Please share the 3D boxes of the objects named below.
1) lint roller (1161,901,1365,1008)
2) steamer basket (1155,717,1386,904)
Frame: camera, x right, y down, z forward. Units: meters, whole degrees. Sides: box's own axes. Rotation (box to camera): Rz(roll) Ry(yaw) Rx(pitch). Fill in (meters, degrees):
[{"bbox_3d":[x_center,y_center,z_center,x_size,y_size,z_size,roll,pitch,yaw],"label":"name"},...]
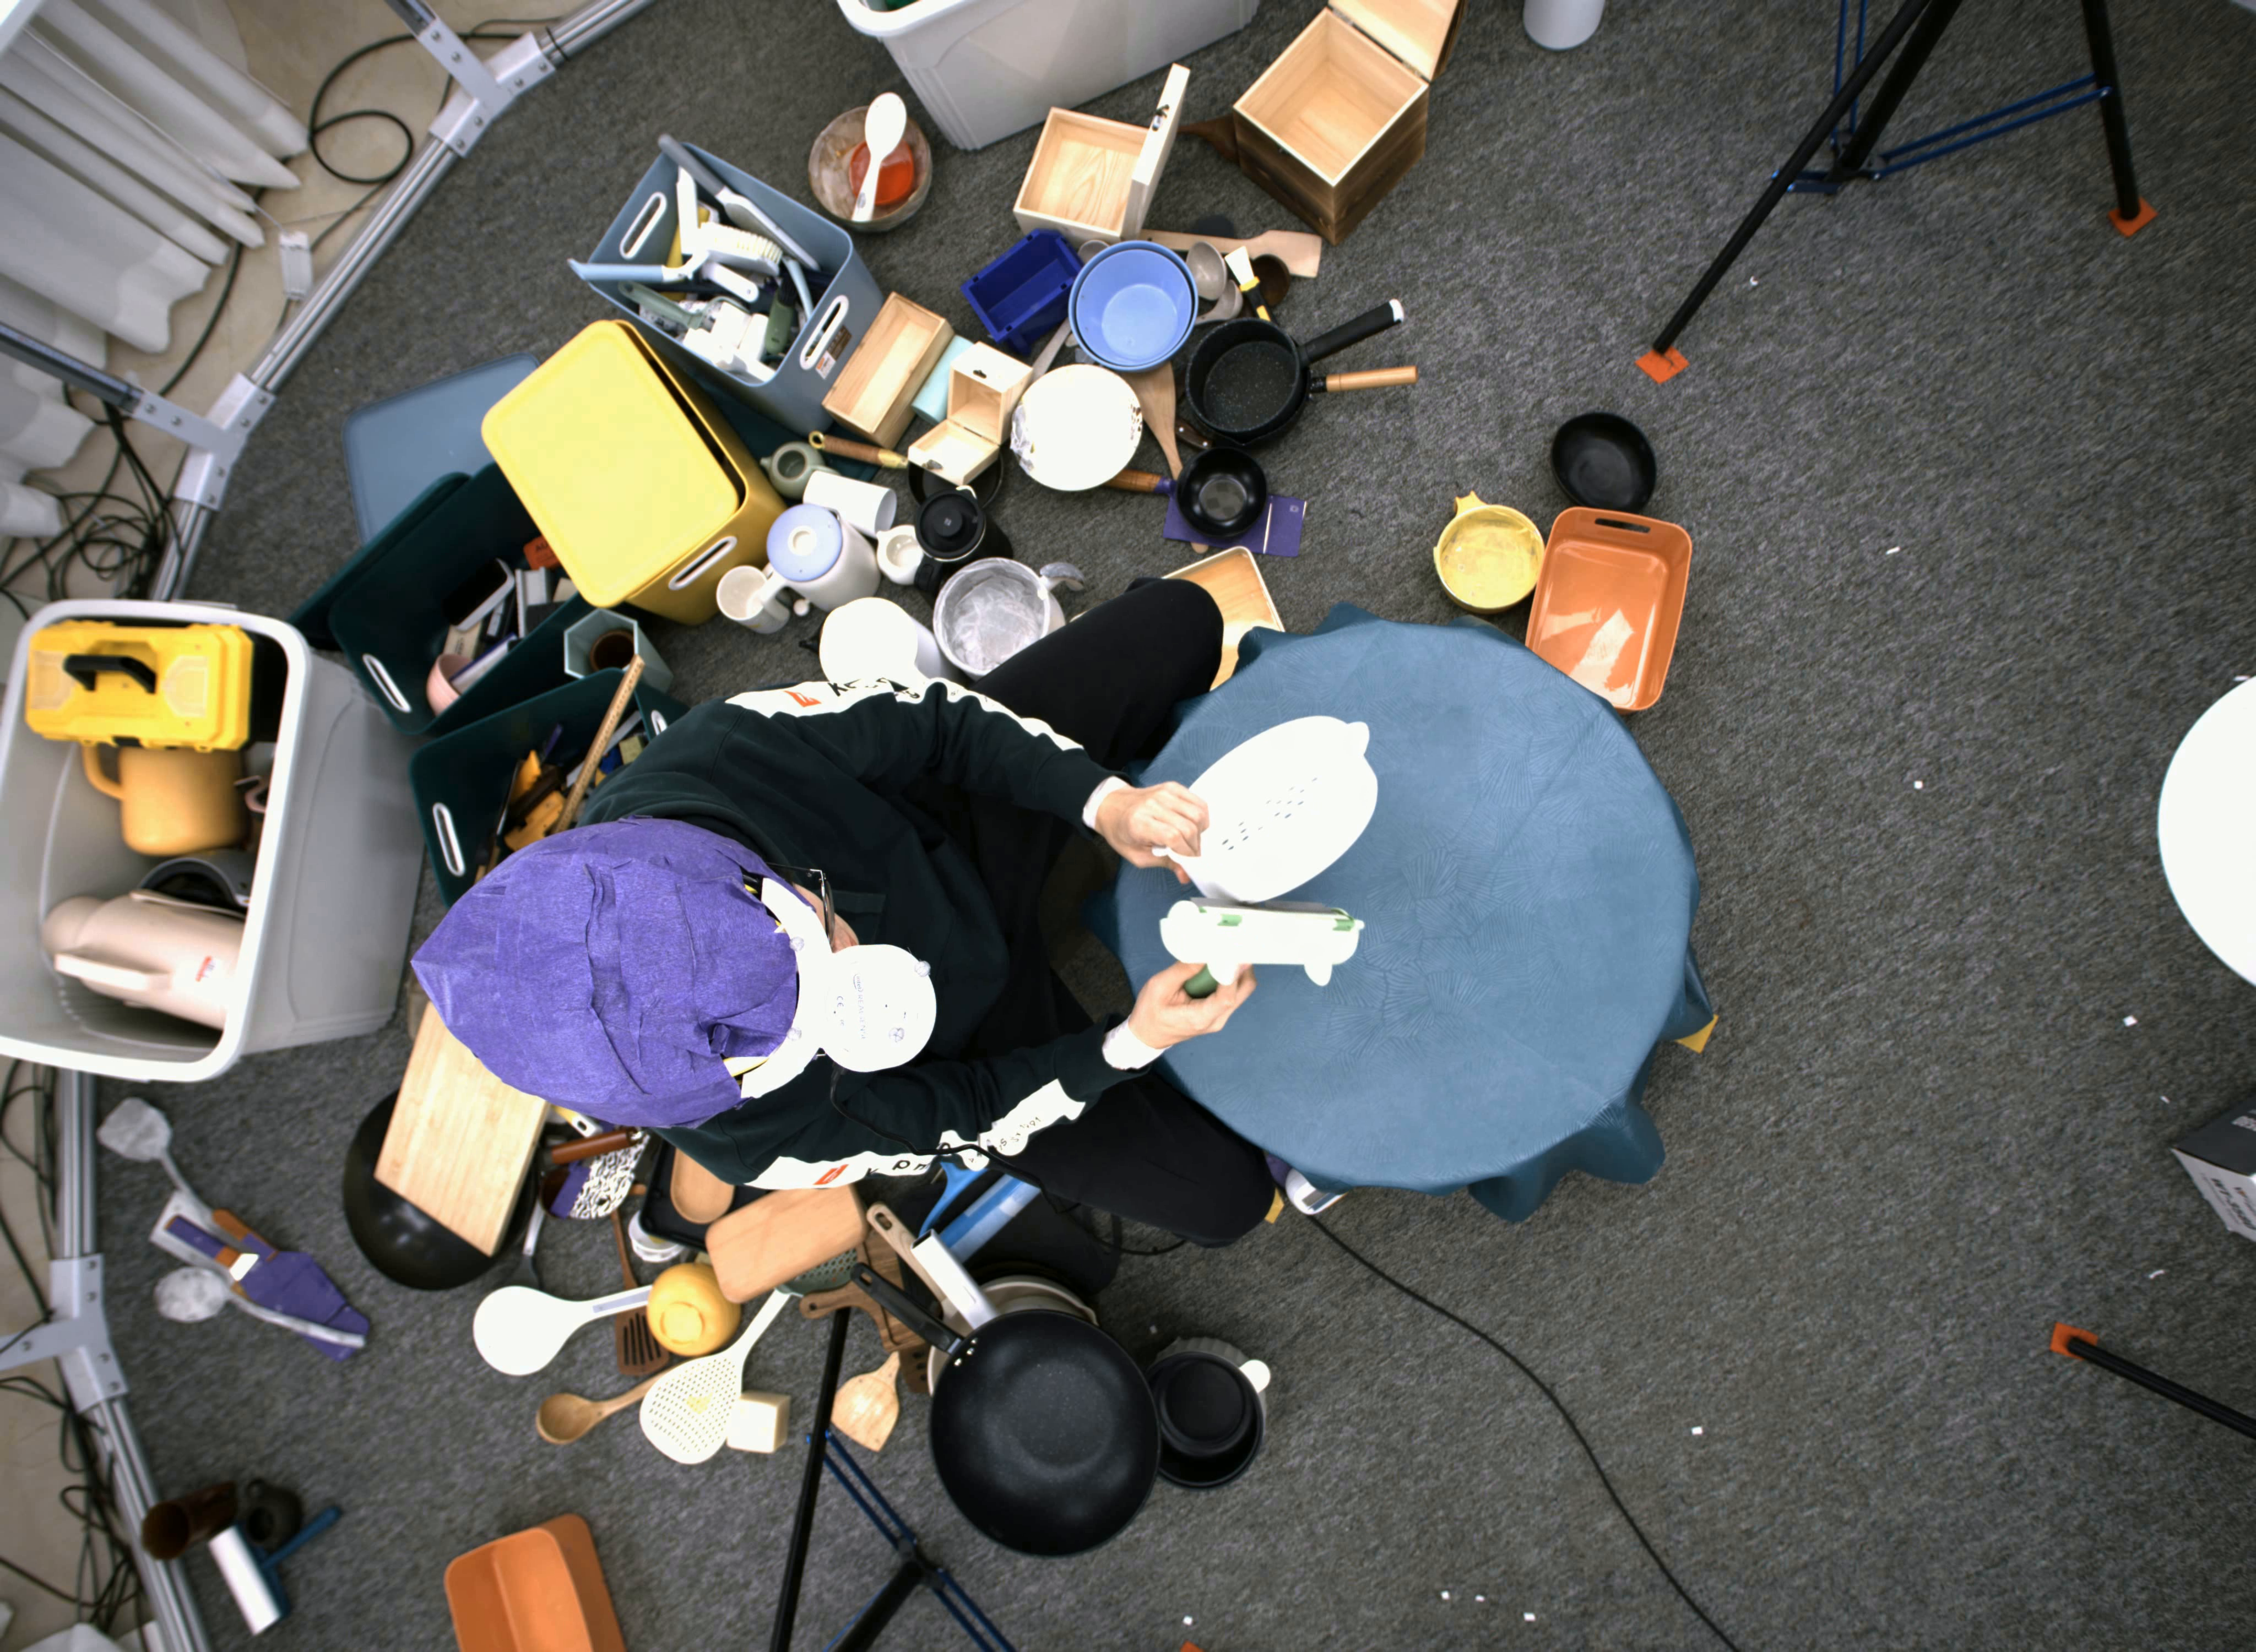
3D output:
[{"bbox_3d":[0.097,0.137,1.270,0.188,0.197,0.080,-51,49,38],"label":"lint roller"},{"bbox_3d":[0.137,-0.014,1.266,0.234,0.196,0.070,-25,117,23],"label":"steamer basket"}]
